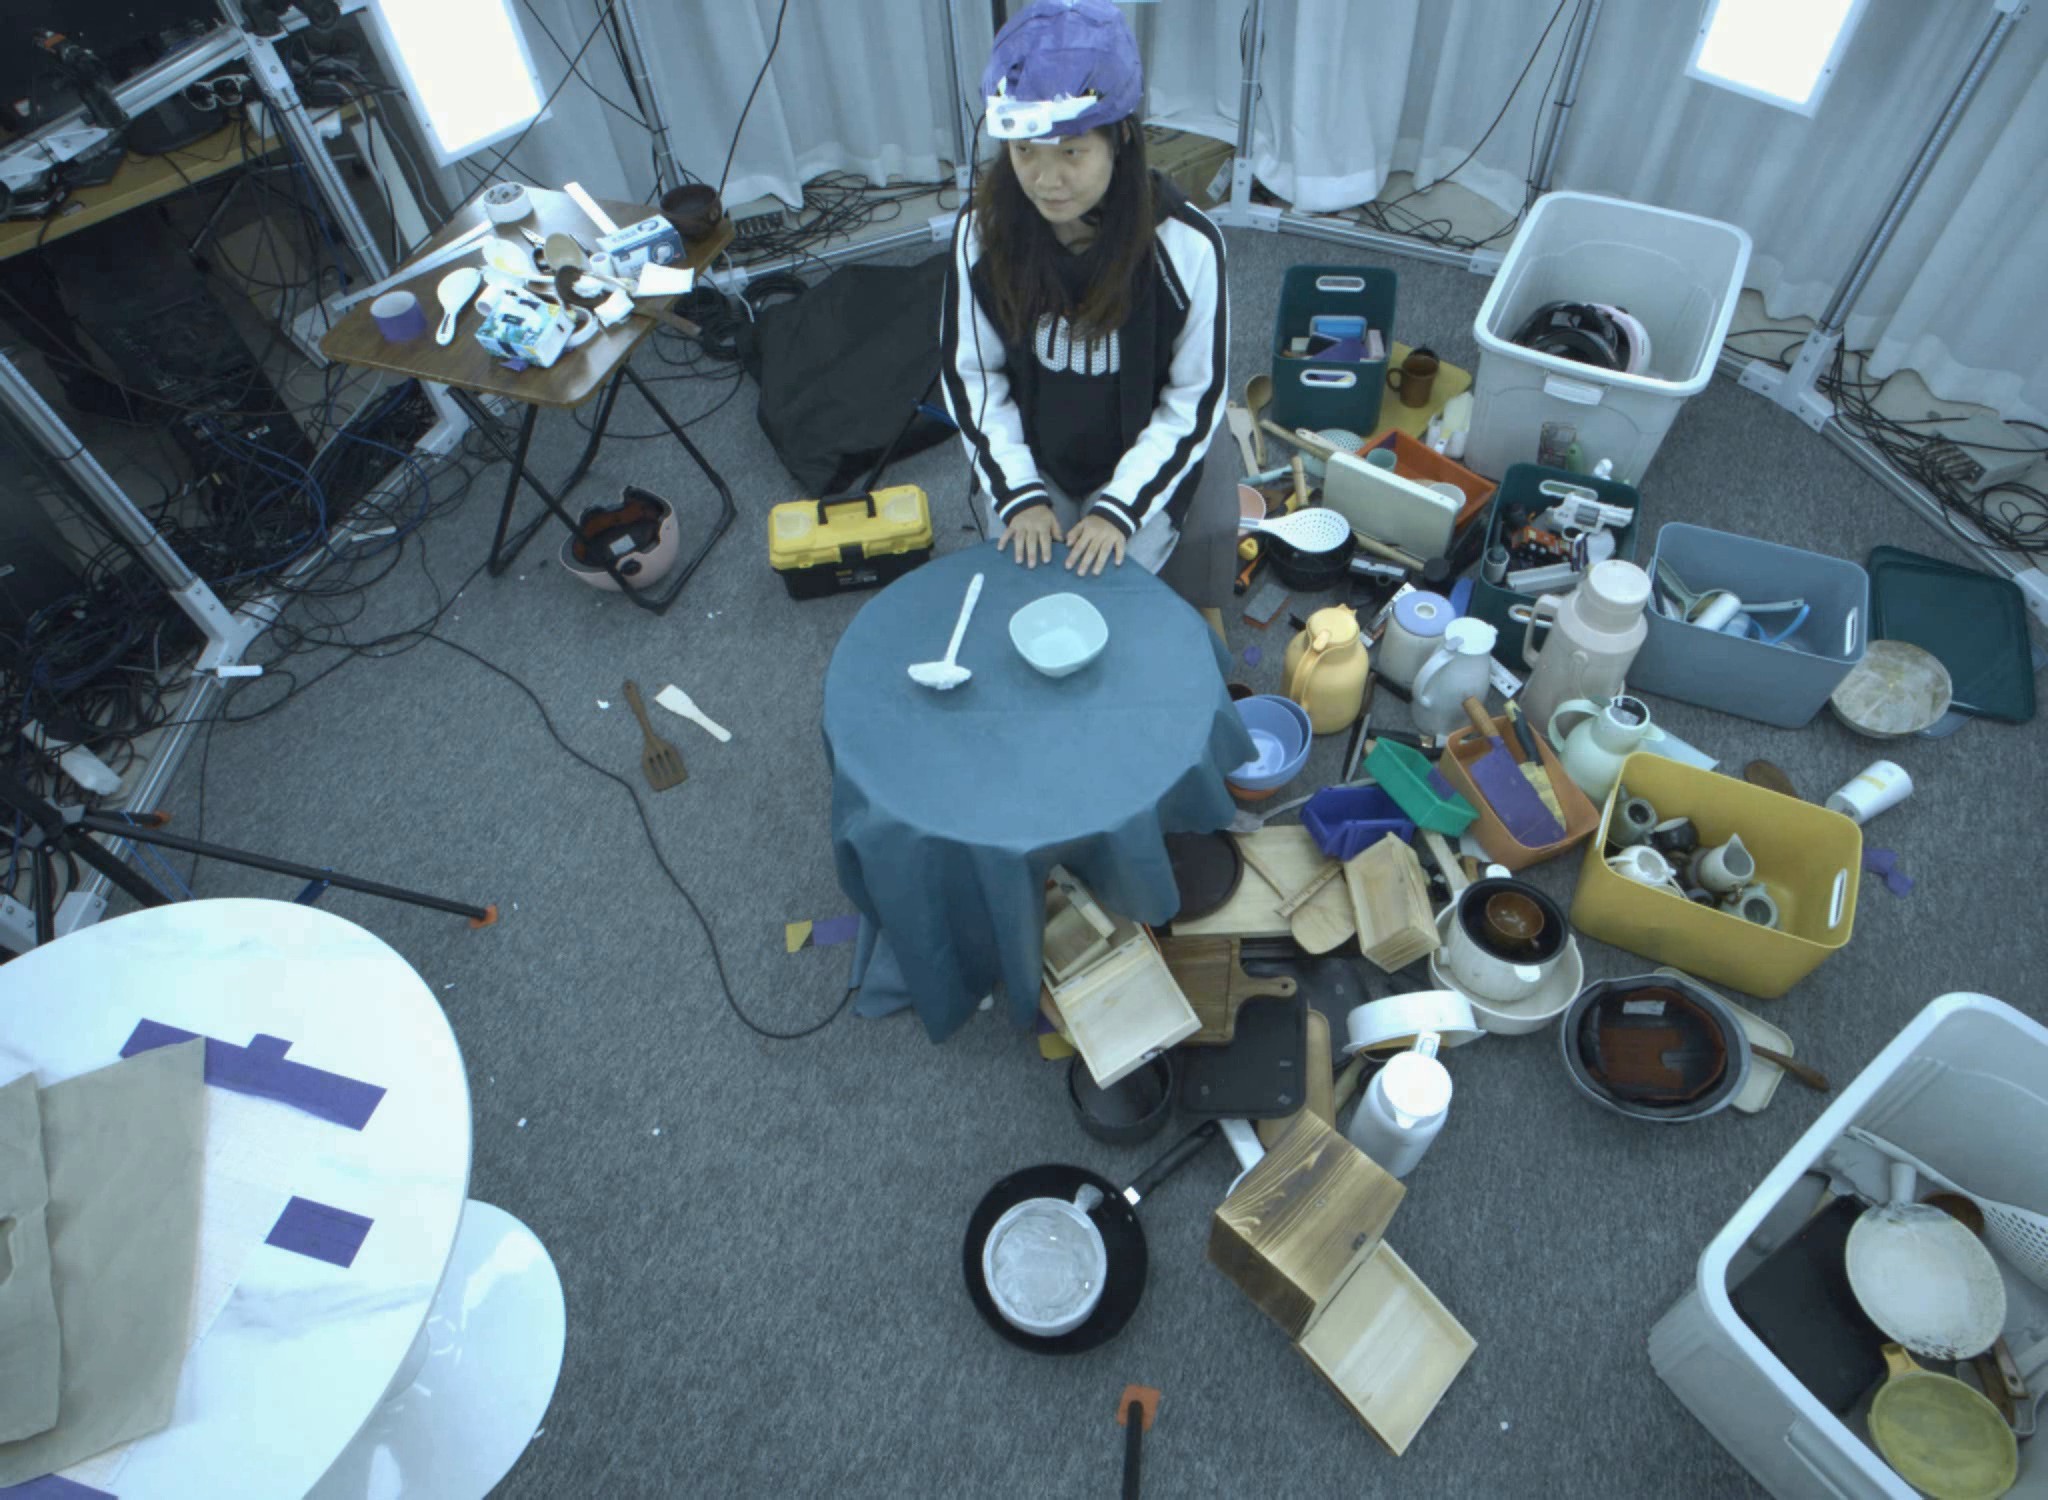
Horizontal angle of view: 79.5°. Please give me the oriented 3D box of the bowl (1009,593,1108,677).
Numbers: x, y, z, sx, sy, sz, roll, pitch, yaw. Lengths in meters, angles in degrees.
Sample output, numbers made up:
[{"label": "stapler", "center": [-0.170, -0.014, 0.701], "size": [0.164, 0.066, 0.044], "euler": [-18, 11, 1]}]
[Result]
[{"label": "bowl", "center": [0.053, -0.165, 1.871], "size": [0.151, 0.059, 0.150], "euler": [0, 54, 2]}]

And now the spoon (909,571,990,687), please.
[{"label": "spoon", "center": [-0.096, -0.194, 1.893], "size": [0.100, 0.060, 0.276], "euler": [15, 57, 7]}]
